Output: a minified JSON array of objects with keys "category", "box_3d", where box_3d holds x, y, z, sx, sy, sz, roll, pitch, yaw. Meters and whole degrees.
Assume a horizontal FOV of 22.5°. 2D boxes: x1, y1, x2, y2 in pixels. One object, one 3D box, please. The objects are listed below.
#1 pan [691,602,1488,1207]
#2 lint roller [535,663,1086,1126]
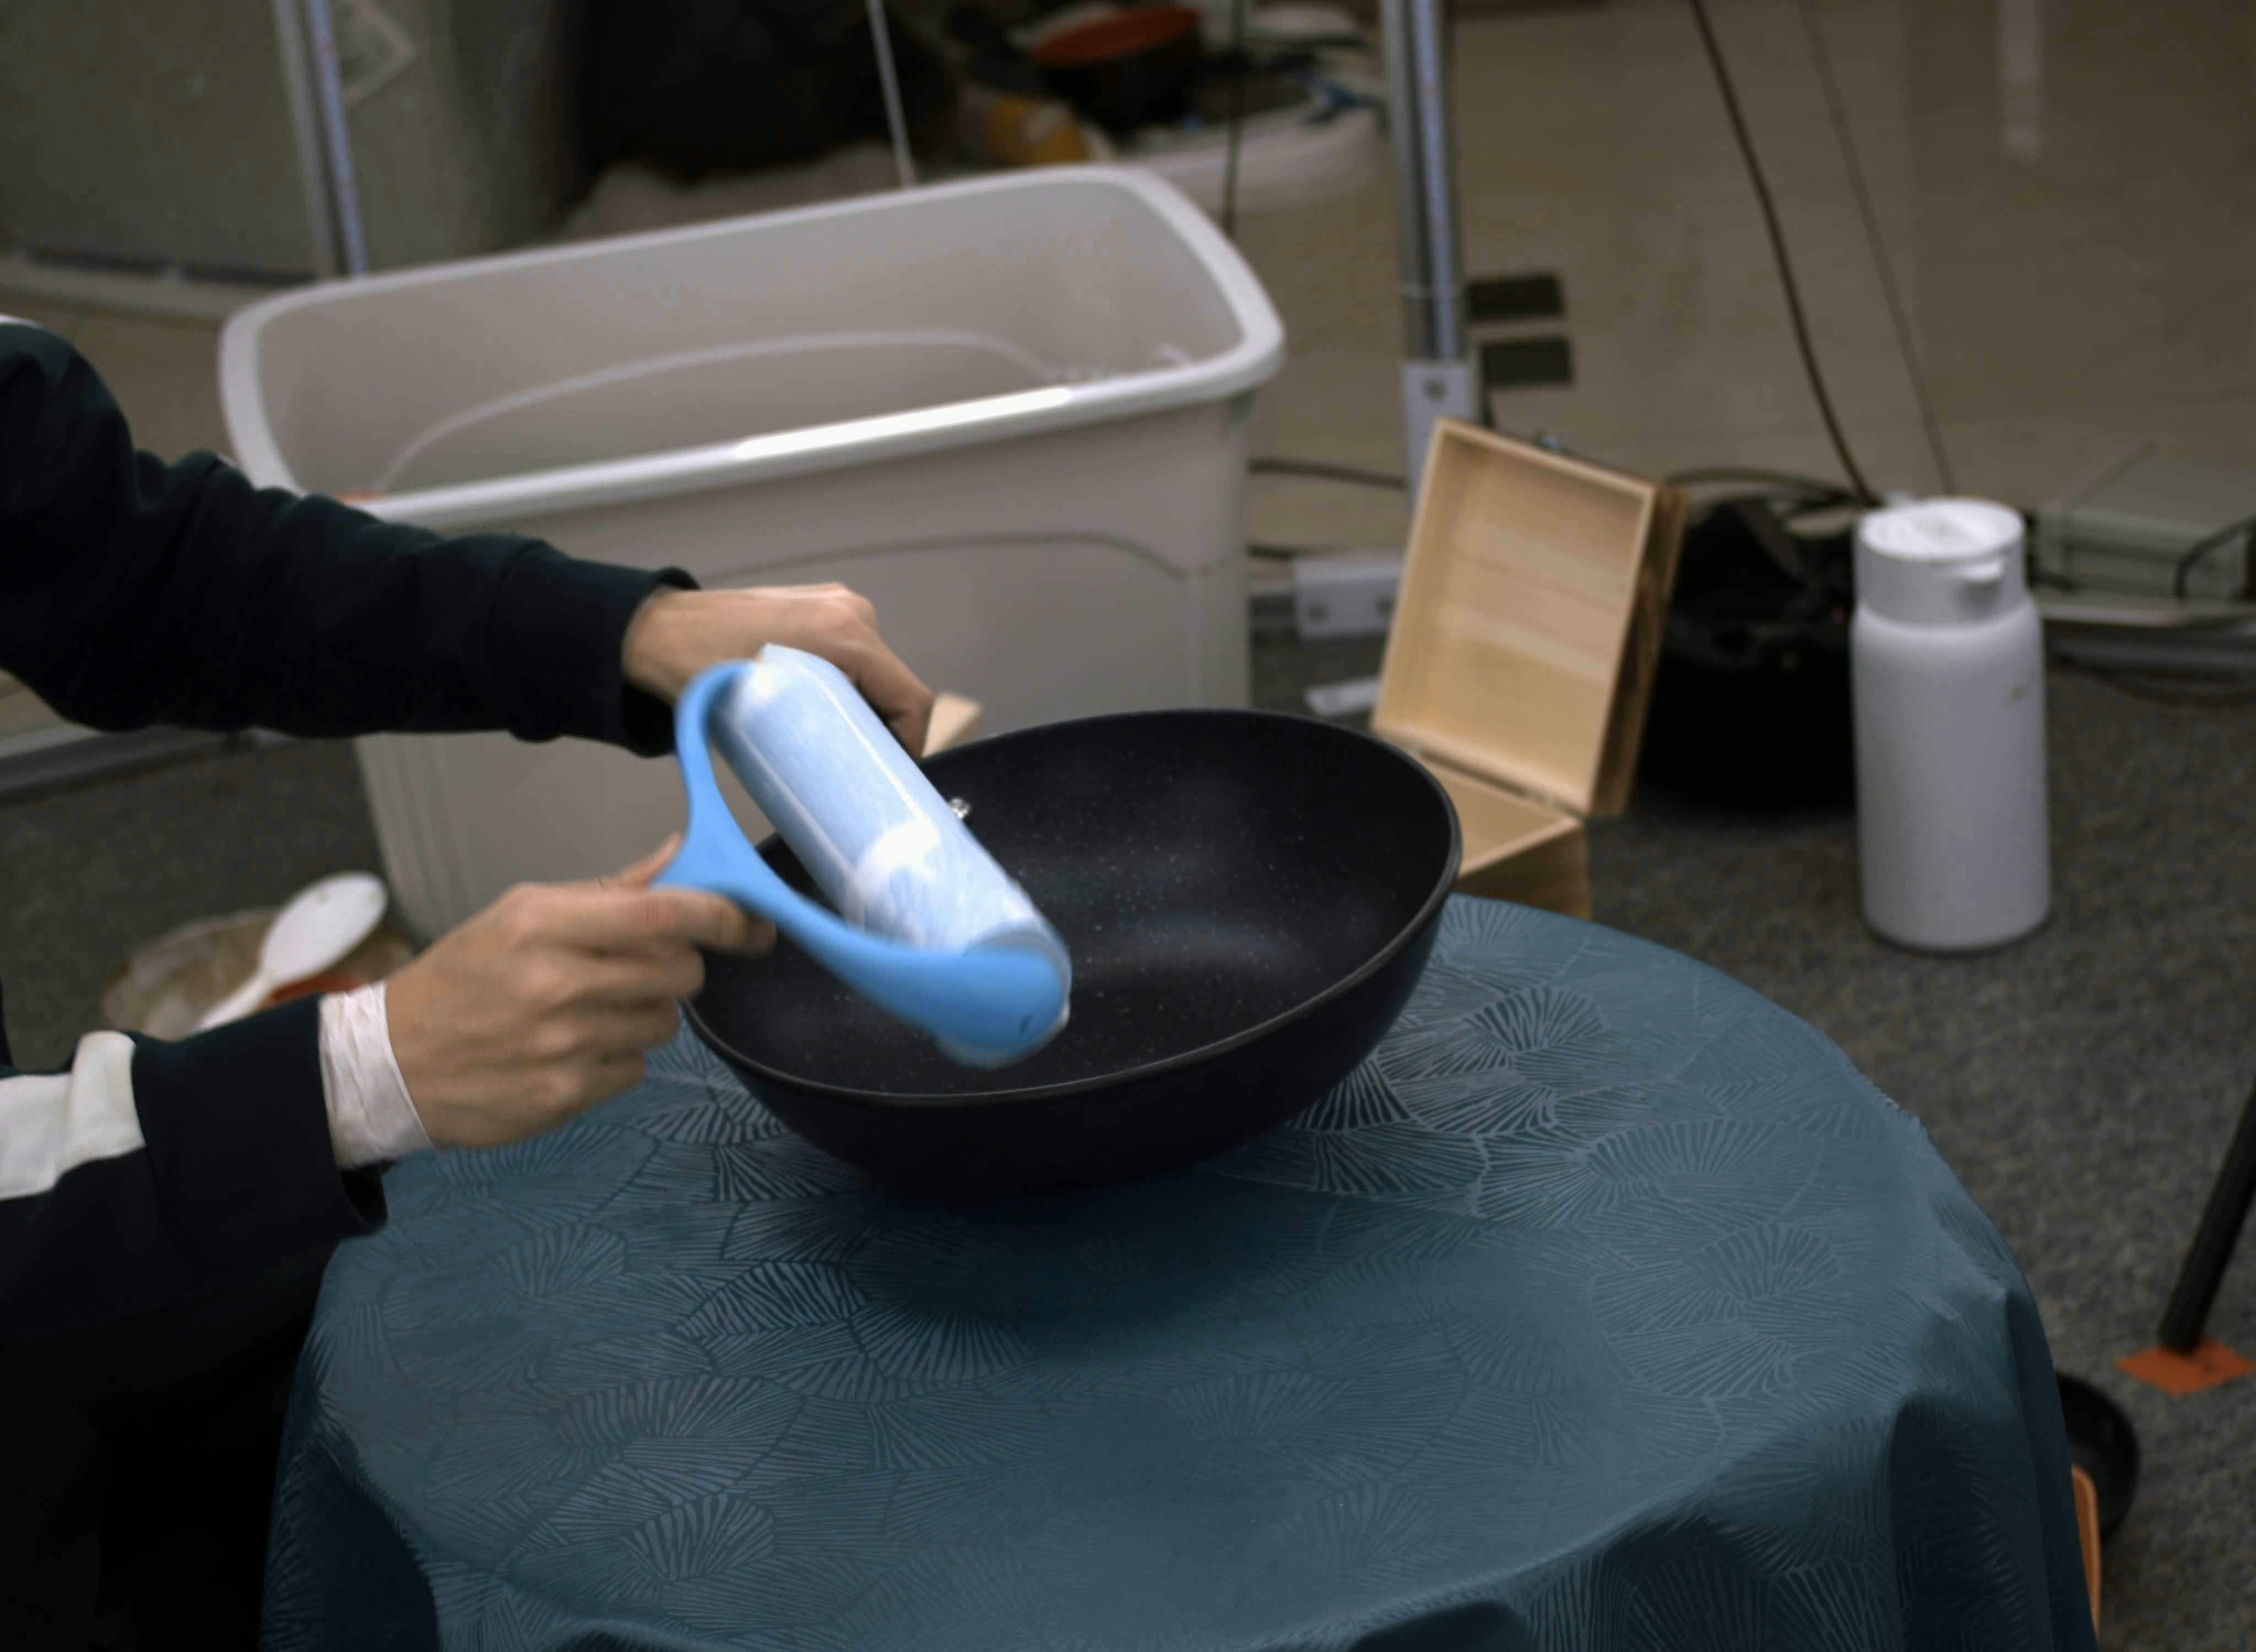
[{"category":"pan","box_3d":[-0.052,0.029,2.252,0.308,0.113,0.471,-22,28,-22]},{"category":"lint roller","box_3d":[-0.129,0.038,1.942,0.179,0.069,0.225,-29,42,-12]}]
